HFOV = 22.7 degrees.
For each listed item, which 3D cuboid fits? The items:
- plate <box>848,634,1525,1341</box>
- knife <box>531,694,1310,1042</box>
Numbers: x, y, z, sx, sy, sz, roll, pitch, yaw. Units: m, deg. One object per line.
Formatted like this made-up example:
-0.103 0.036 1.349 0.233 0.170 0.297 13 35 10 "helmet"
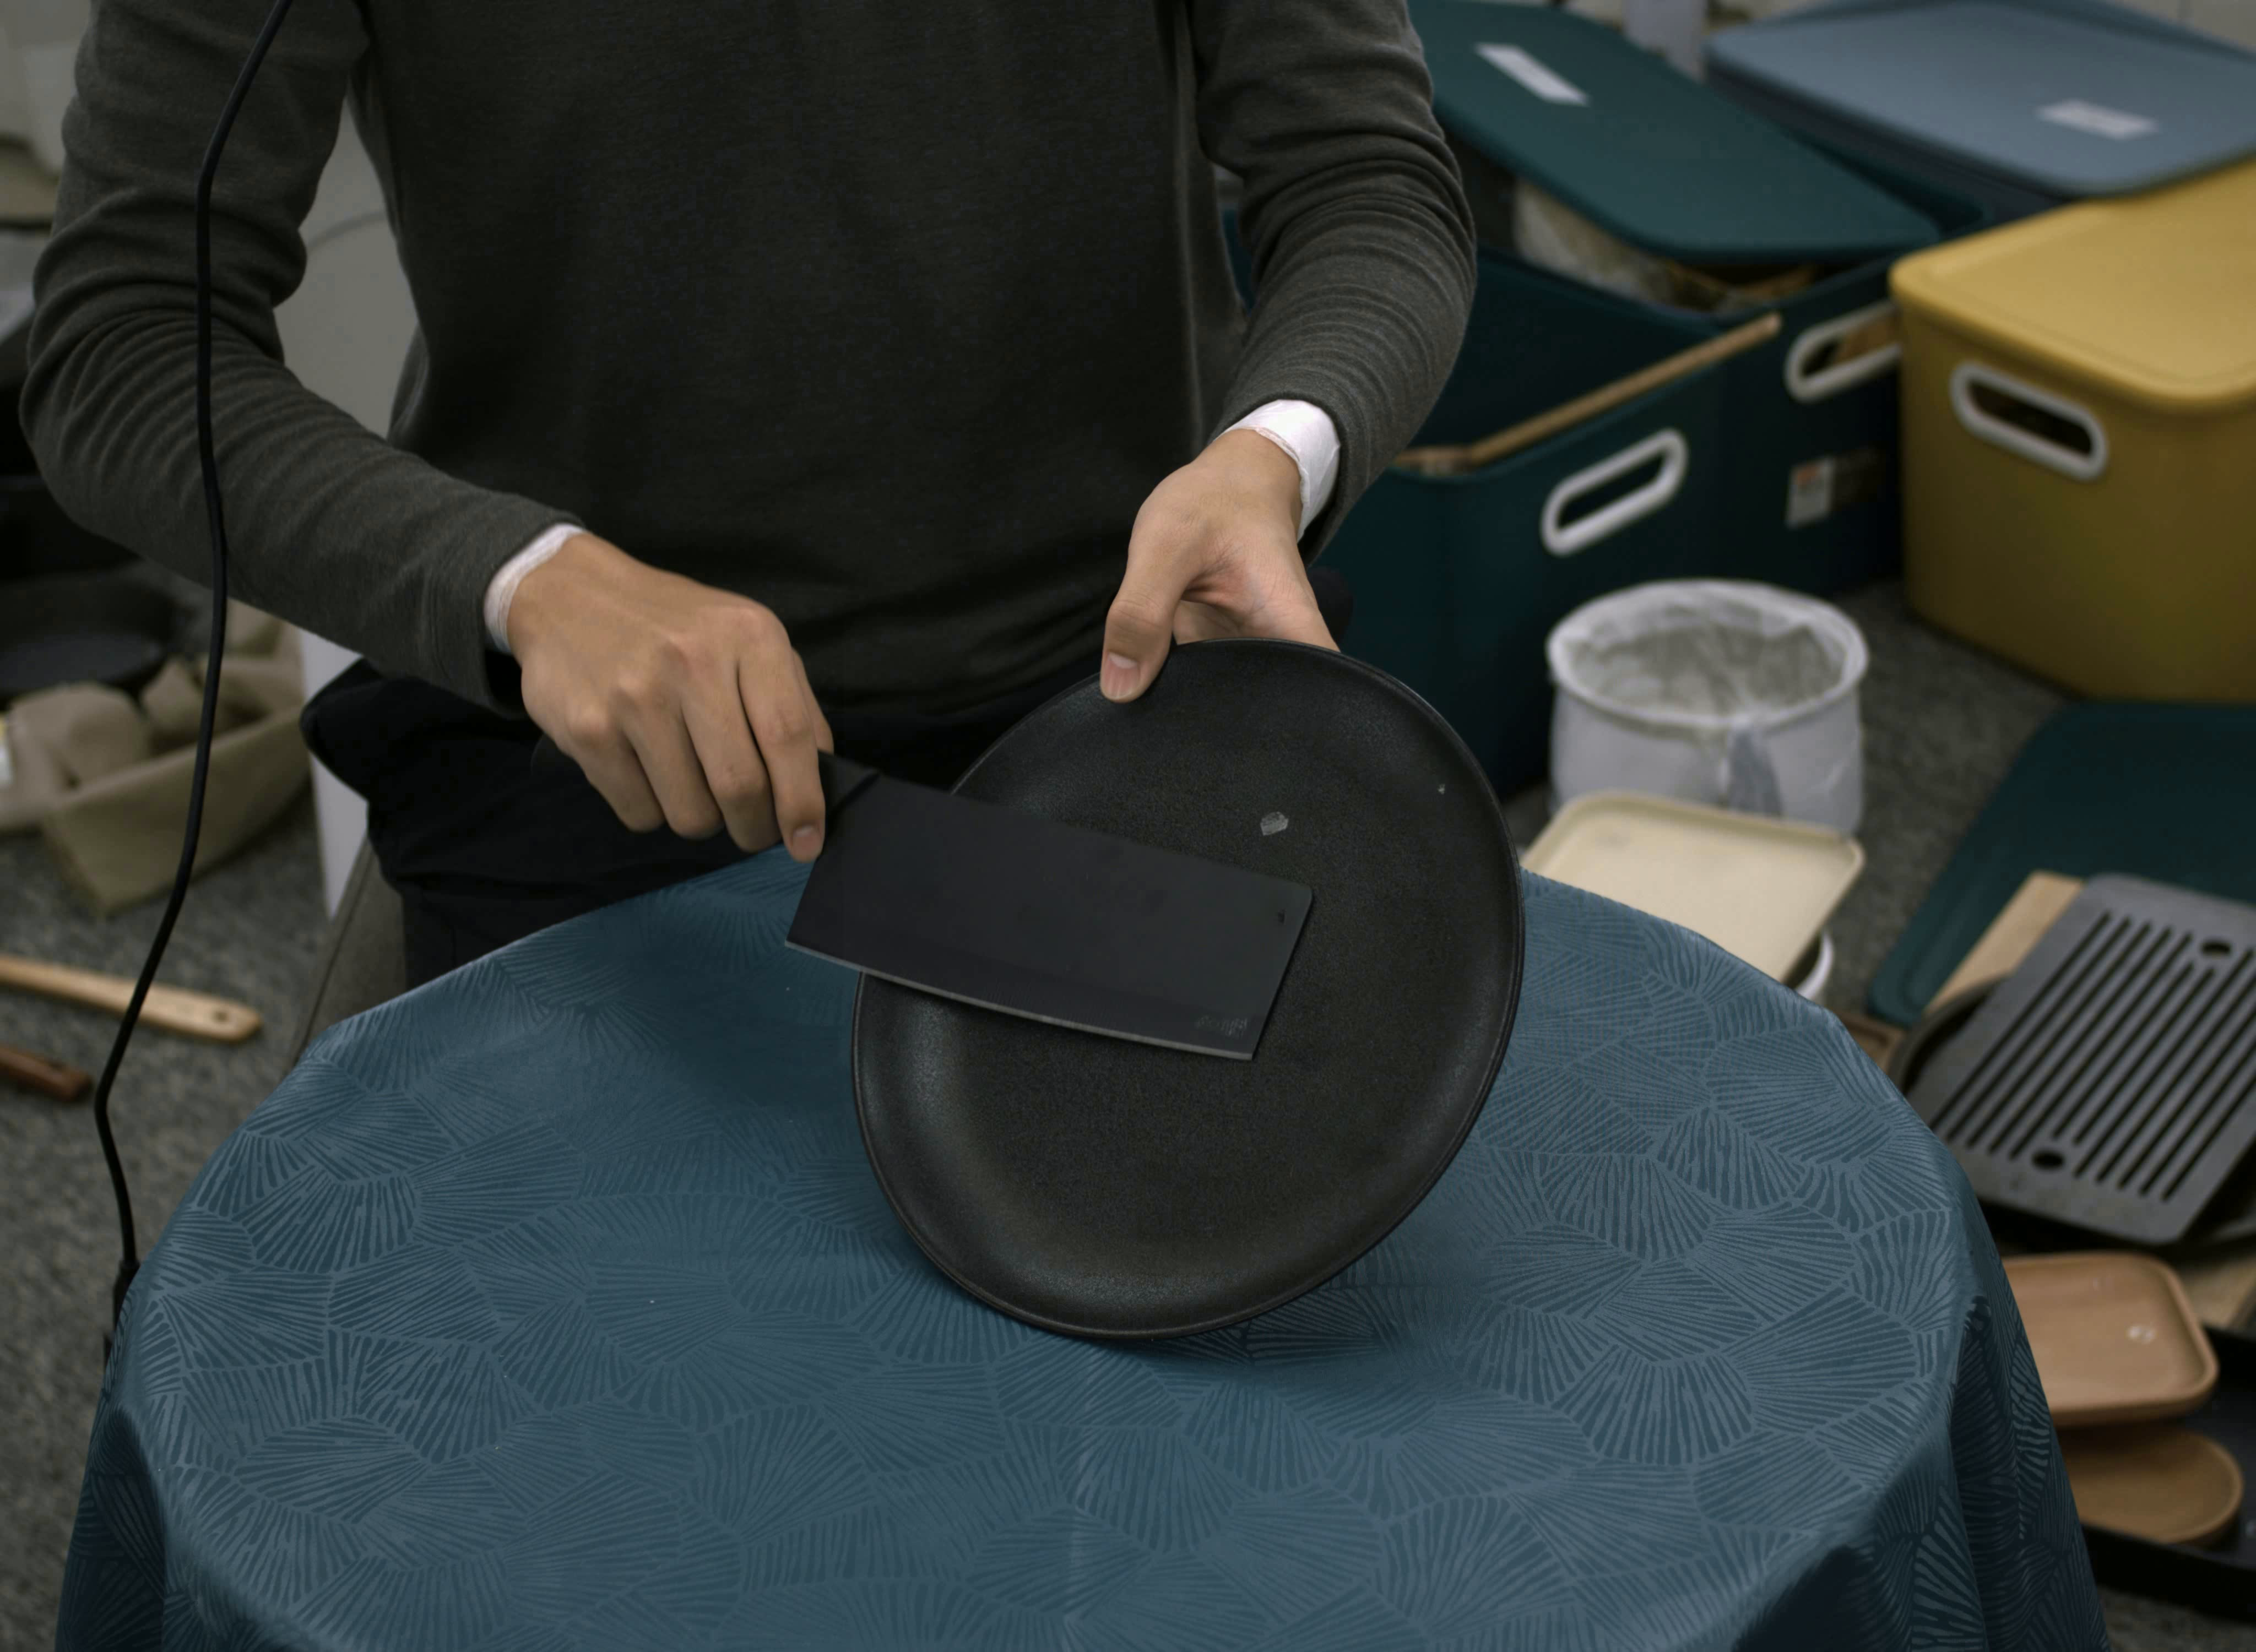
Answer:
0.020 0.054 1.825 0.242 0.023 0.249 -11 62 23 "plate"
-0.076 0.010 1.885 0.301 0.020 0.082 19 76 29 "knife"
